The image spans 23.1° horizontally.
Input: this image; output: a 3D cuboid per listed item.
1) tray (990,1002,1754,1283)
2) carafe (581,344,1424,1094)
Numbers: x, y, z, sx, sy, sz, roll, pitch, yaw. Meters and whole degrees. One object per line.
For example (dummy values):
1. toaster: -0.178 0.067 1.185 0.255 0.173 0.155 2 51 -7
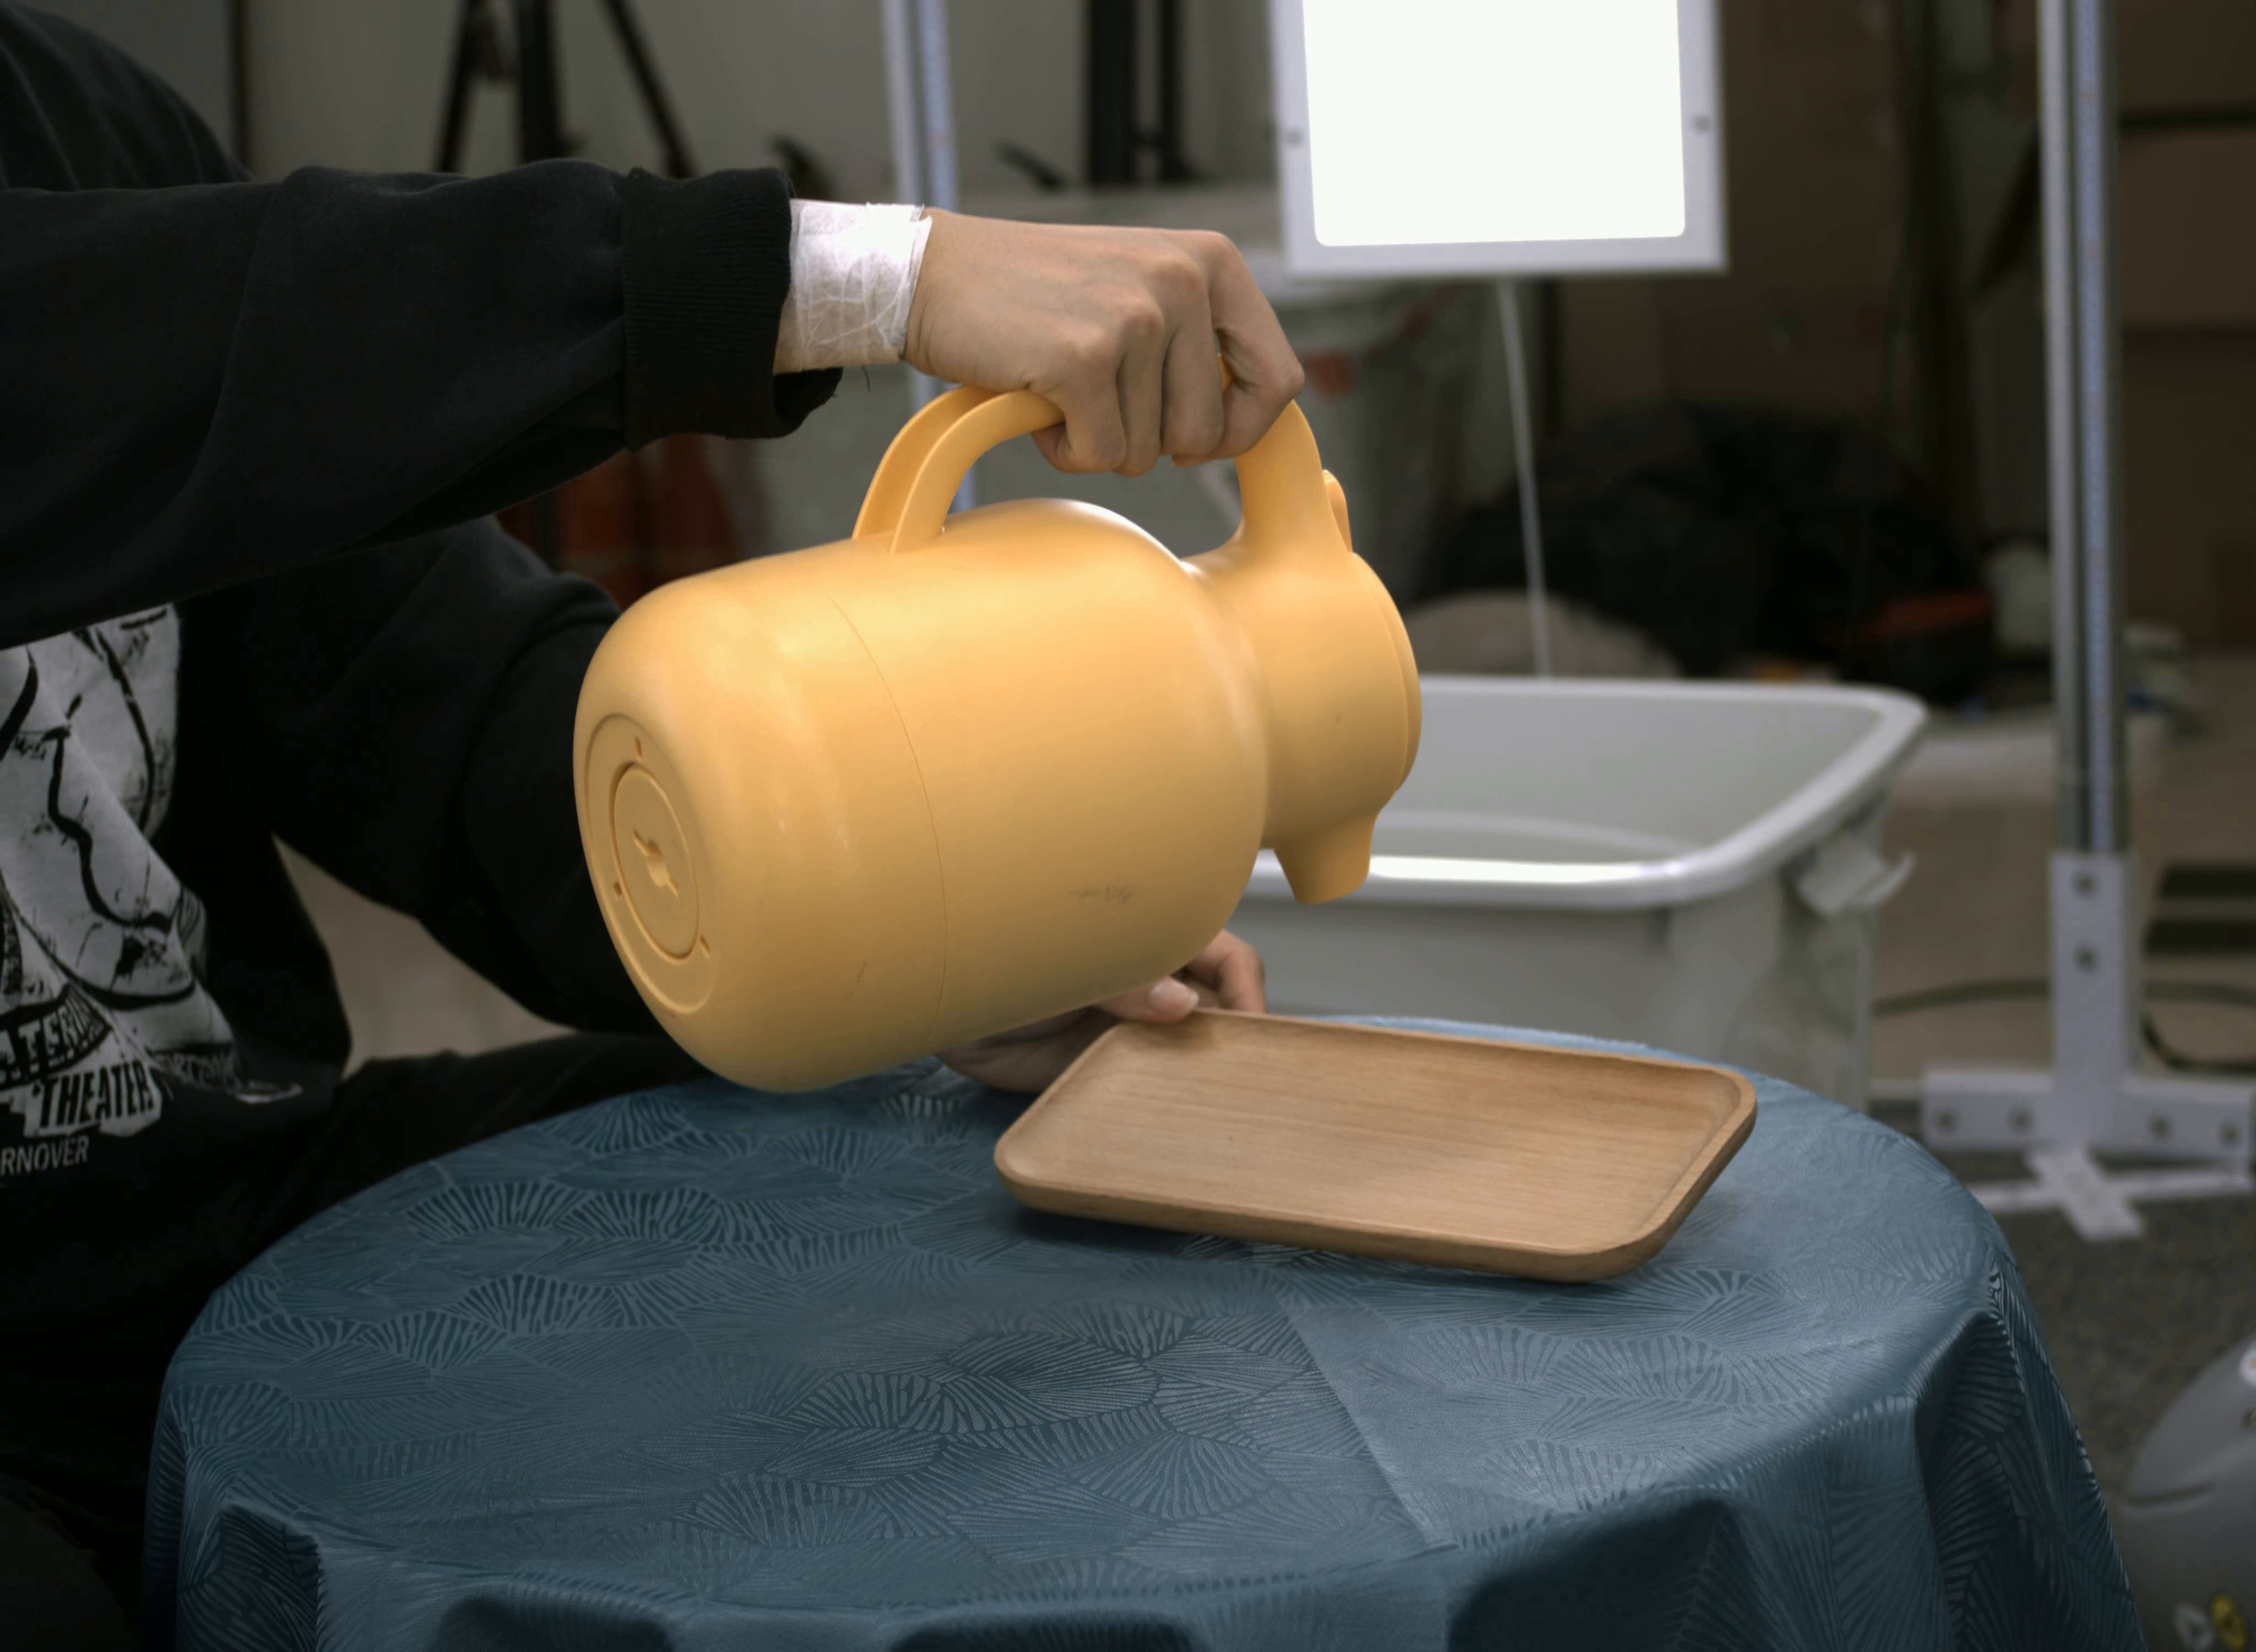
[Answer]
1. tray: 0.082 0.106 1.856 0.255 0.023 0.128 5 28 33
2. carafe: -0.036 -0.040 1.724 0.255 0.203 0.166 -16 17 -28
